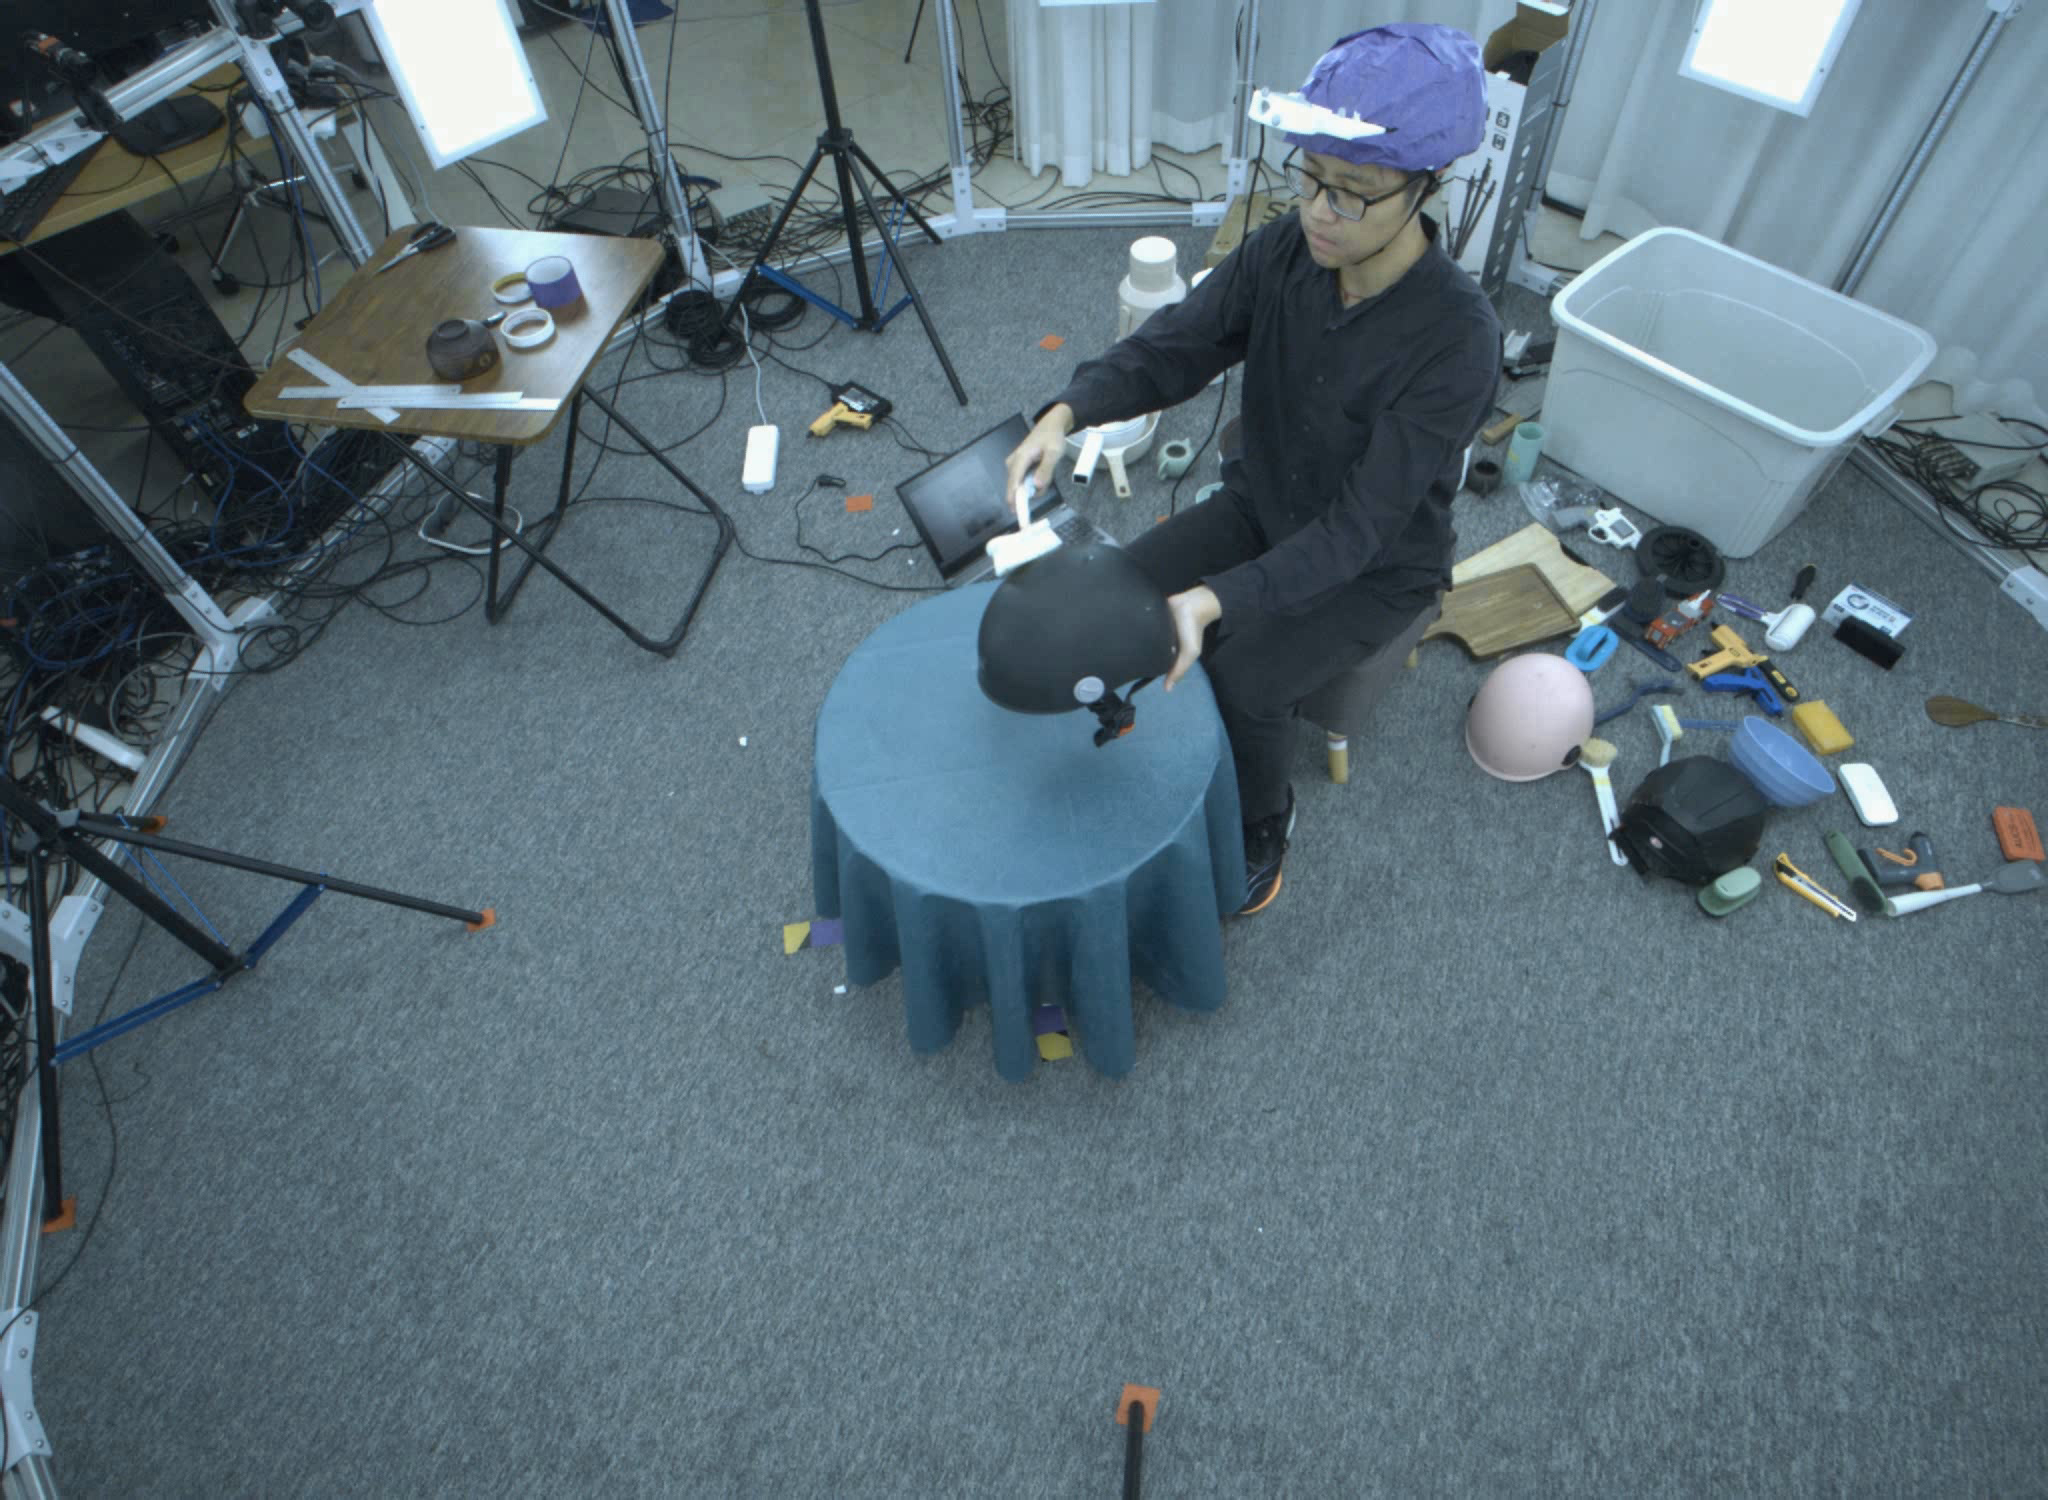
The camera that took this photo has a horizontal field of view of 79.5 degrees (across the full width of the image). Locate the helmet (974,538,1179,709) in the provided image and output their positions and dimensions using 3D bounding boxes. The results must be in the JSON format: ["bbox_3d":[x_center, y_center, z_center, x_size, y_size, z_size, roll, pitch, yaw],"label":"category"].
[{"bbox_3d":[0.062,-0.177,1.571,0.276,0.169,0.225,-19,41,-17],"label":"helmet"}]

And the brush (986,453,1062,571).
[{"bbox_3d":[0.021,-0.317,1.659,0.082,0.085,0.325,9,33,10],"label":"brush"}]
